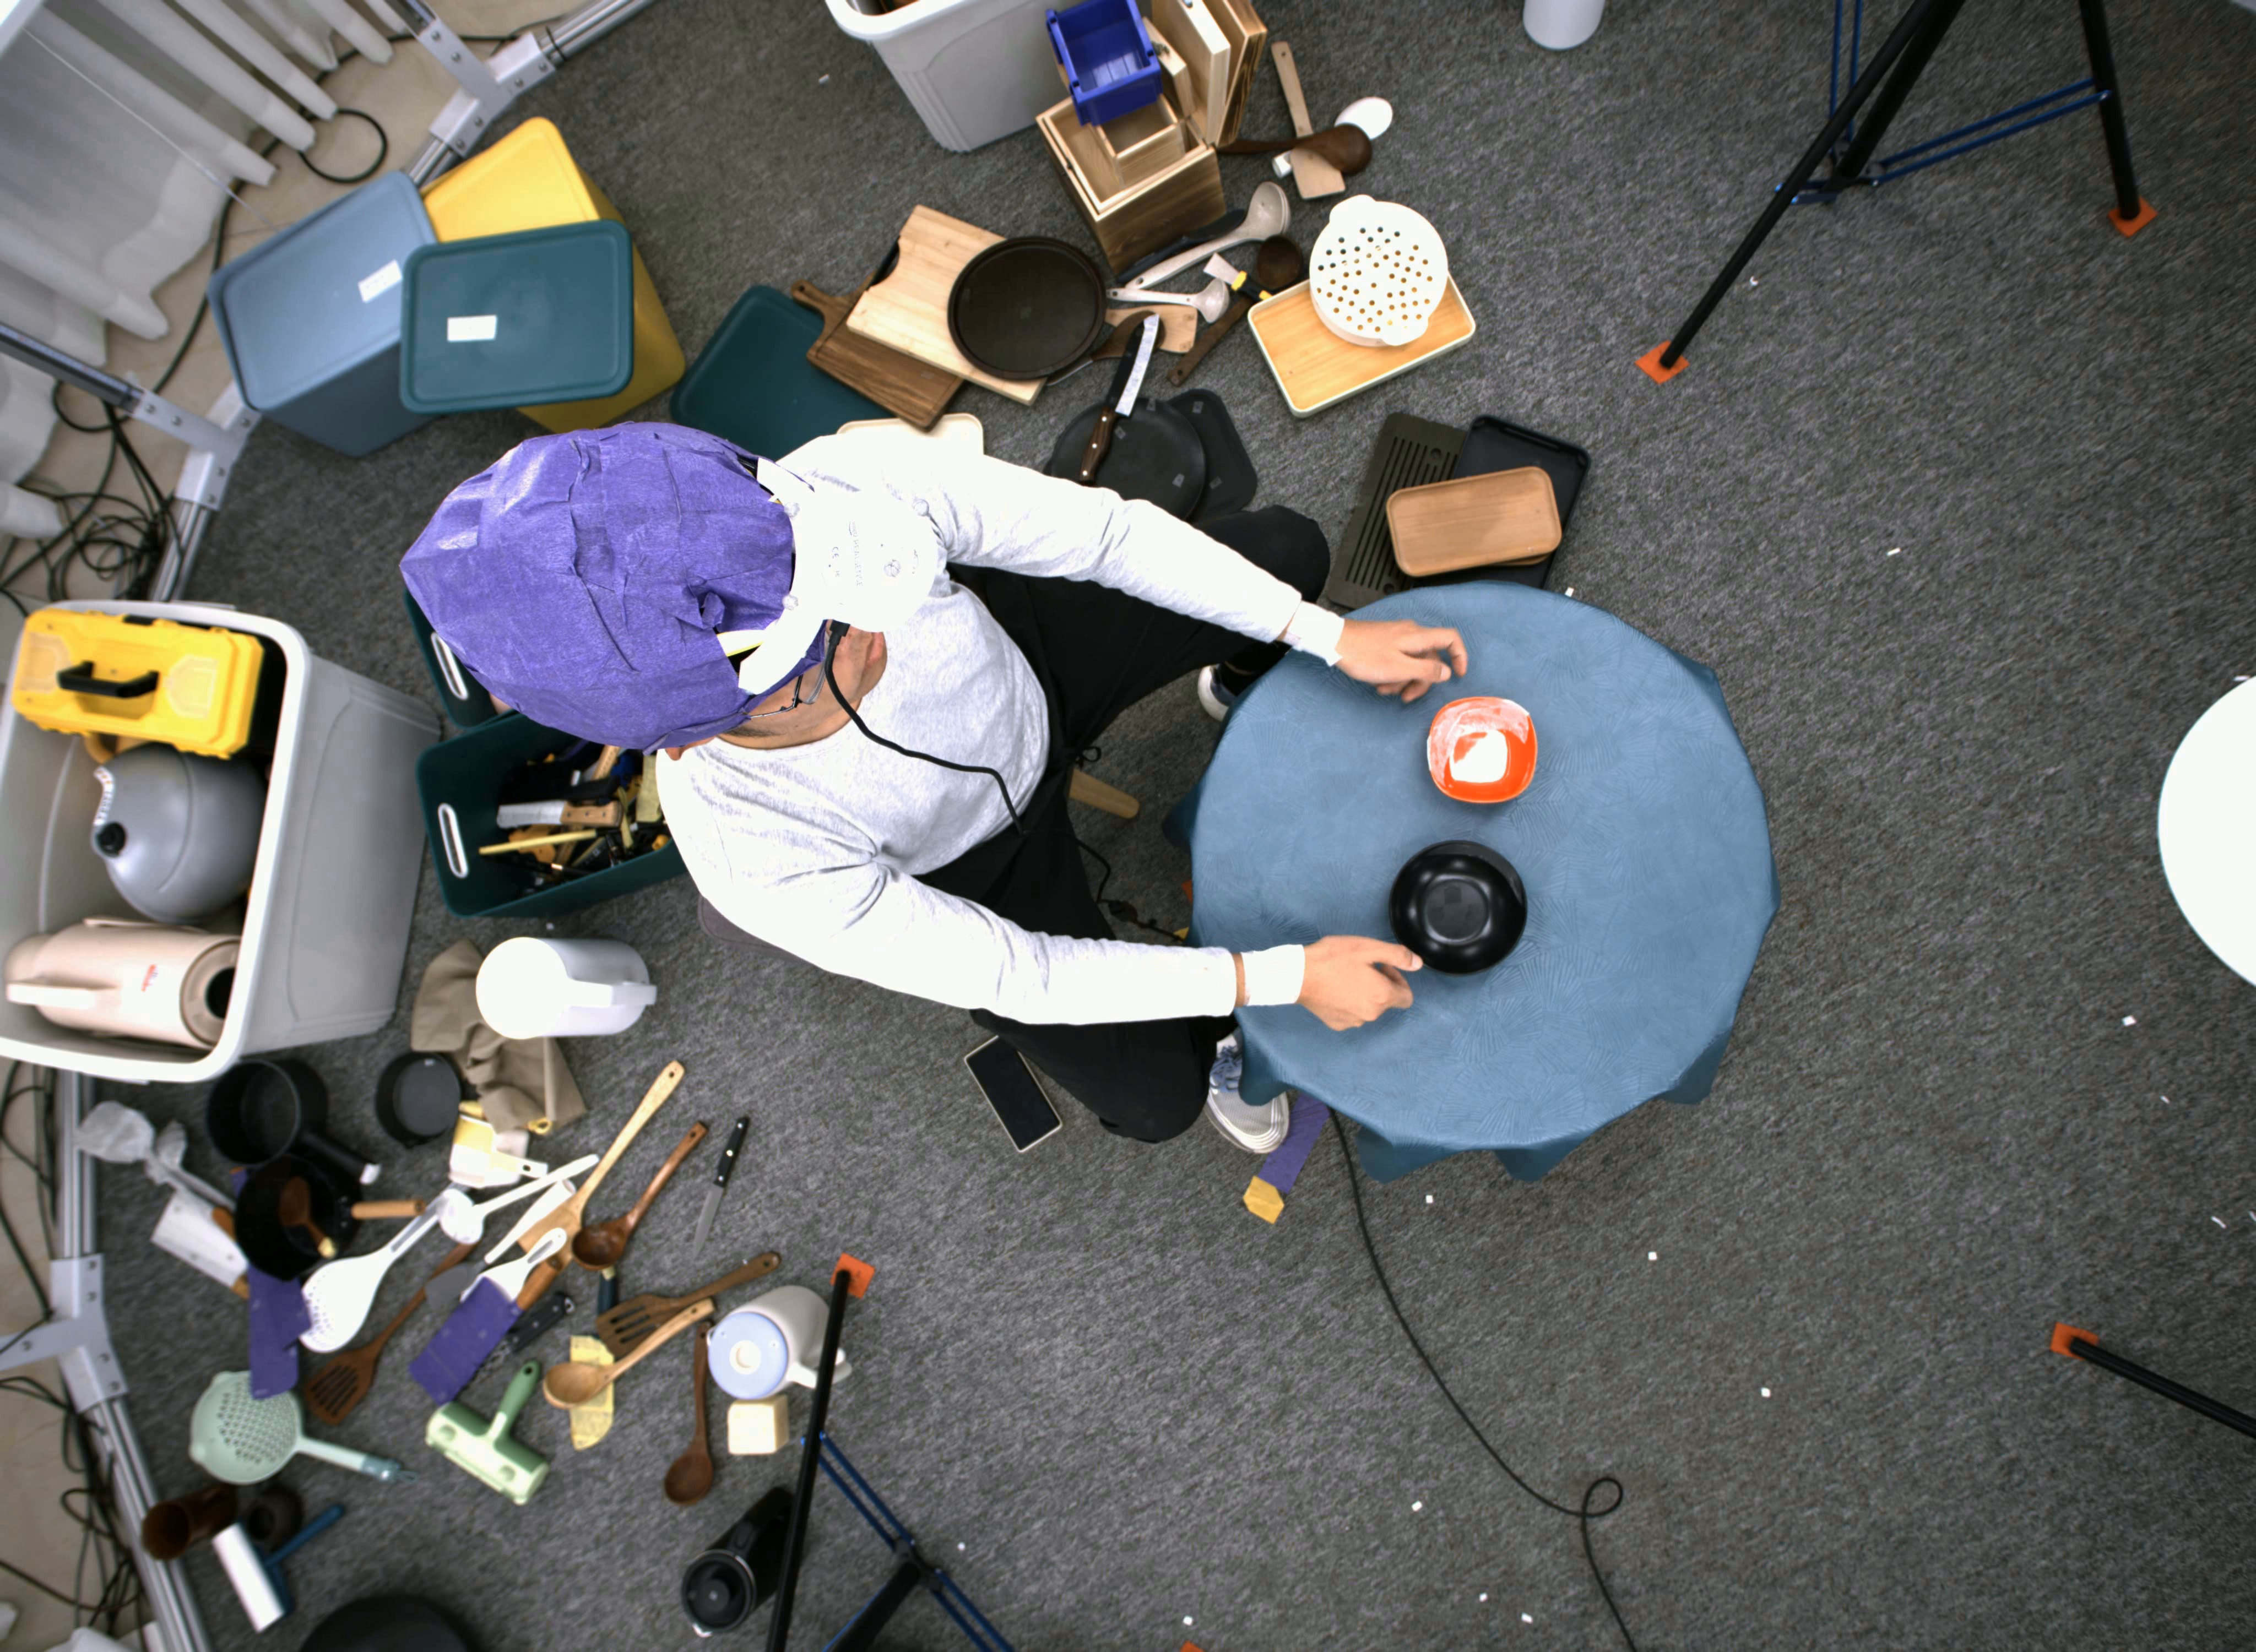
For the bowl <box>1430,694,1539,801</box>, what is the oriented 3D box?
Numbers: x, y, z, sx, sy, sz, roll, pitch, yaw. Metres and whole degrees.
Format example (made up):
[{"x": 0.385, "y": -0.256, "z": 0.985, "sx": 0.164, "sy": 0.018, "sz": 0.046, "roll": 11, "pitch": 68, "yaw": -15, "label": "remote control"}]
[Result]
[{"x": 0.367, "y": -0.081, "z": 1.423, "sx": 0.119, "sy": 0.051, "sz": 0.118, "roll": -1, "pitch": 88, "yaw": 9, "label": "bowl"}]

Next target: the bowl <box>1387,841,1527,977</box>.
[{"x": 0.339, "y": 0.085, "z": 1.423, "sx": 0.140, "sy": 0.050, "sz": 0.139, "roll": -1, "pitch": 85, "yaw": 13, "label": "bowl"}]
